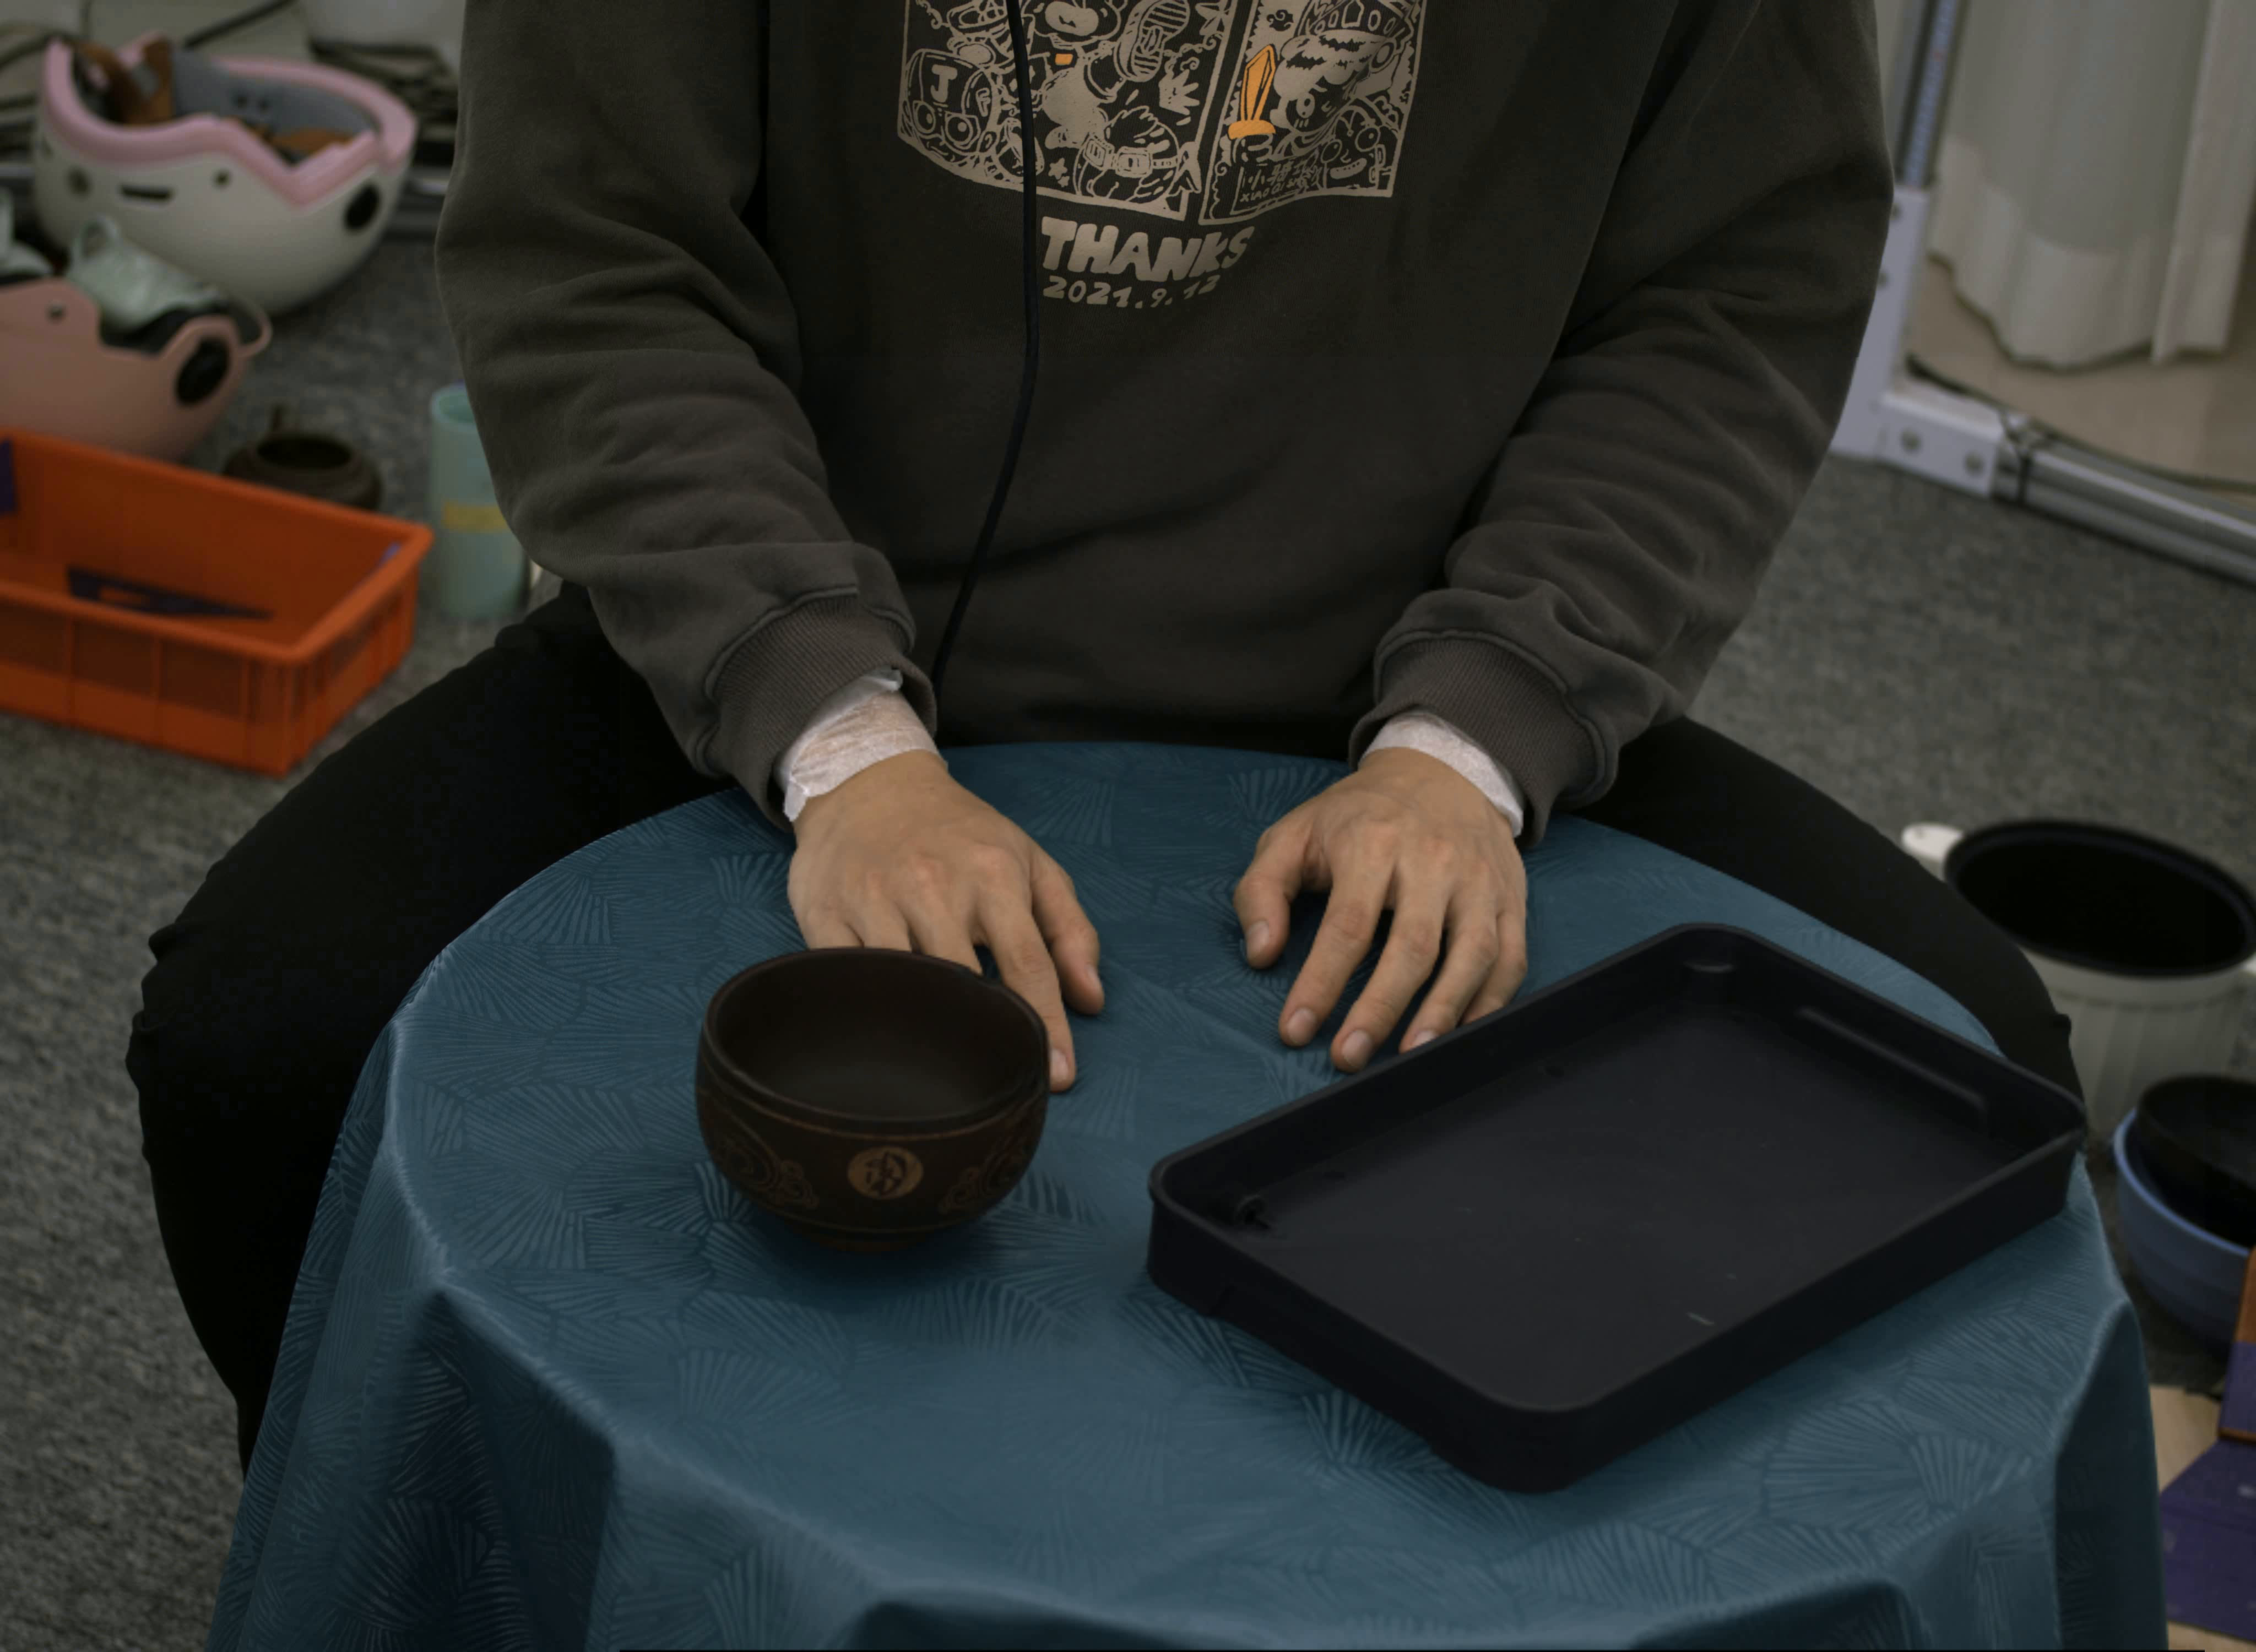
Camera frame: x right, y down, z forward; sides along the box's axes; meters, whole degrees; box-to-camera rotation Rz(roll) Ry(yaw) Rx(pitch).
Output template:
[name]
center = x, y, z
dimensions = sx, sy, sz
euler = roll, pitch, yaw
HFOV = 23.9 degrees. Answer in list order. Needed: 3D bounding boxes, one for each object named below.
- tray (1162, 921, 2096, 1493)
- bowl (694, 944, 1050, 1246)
[tray]
center = 0.173, 0.122, 1.807
dimensions = 0.185, 0.037, 0.316
euler = 26, 33, 35
[bowl]
center = -0.086, 0.096, 1.760
dimensions = 0.117, 0.069, 0.119
euler = 5, 25, -2
